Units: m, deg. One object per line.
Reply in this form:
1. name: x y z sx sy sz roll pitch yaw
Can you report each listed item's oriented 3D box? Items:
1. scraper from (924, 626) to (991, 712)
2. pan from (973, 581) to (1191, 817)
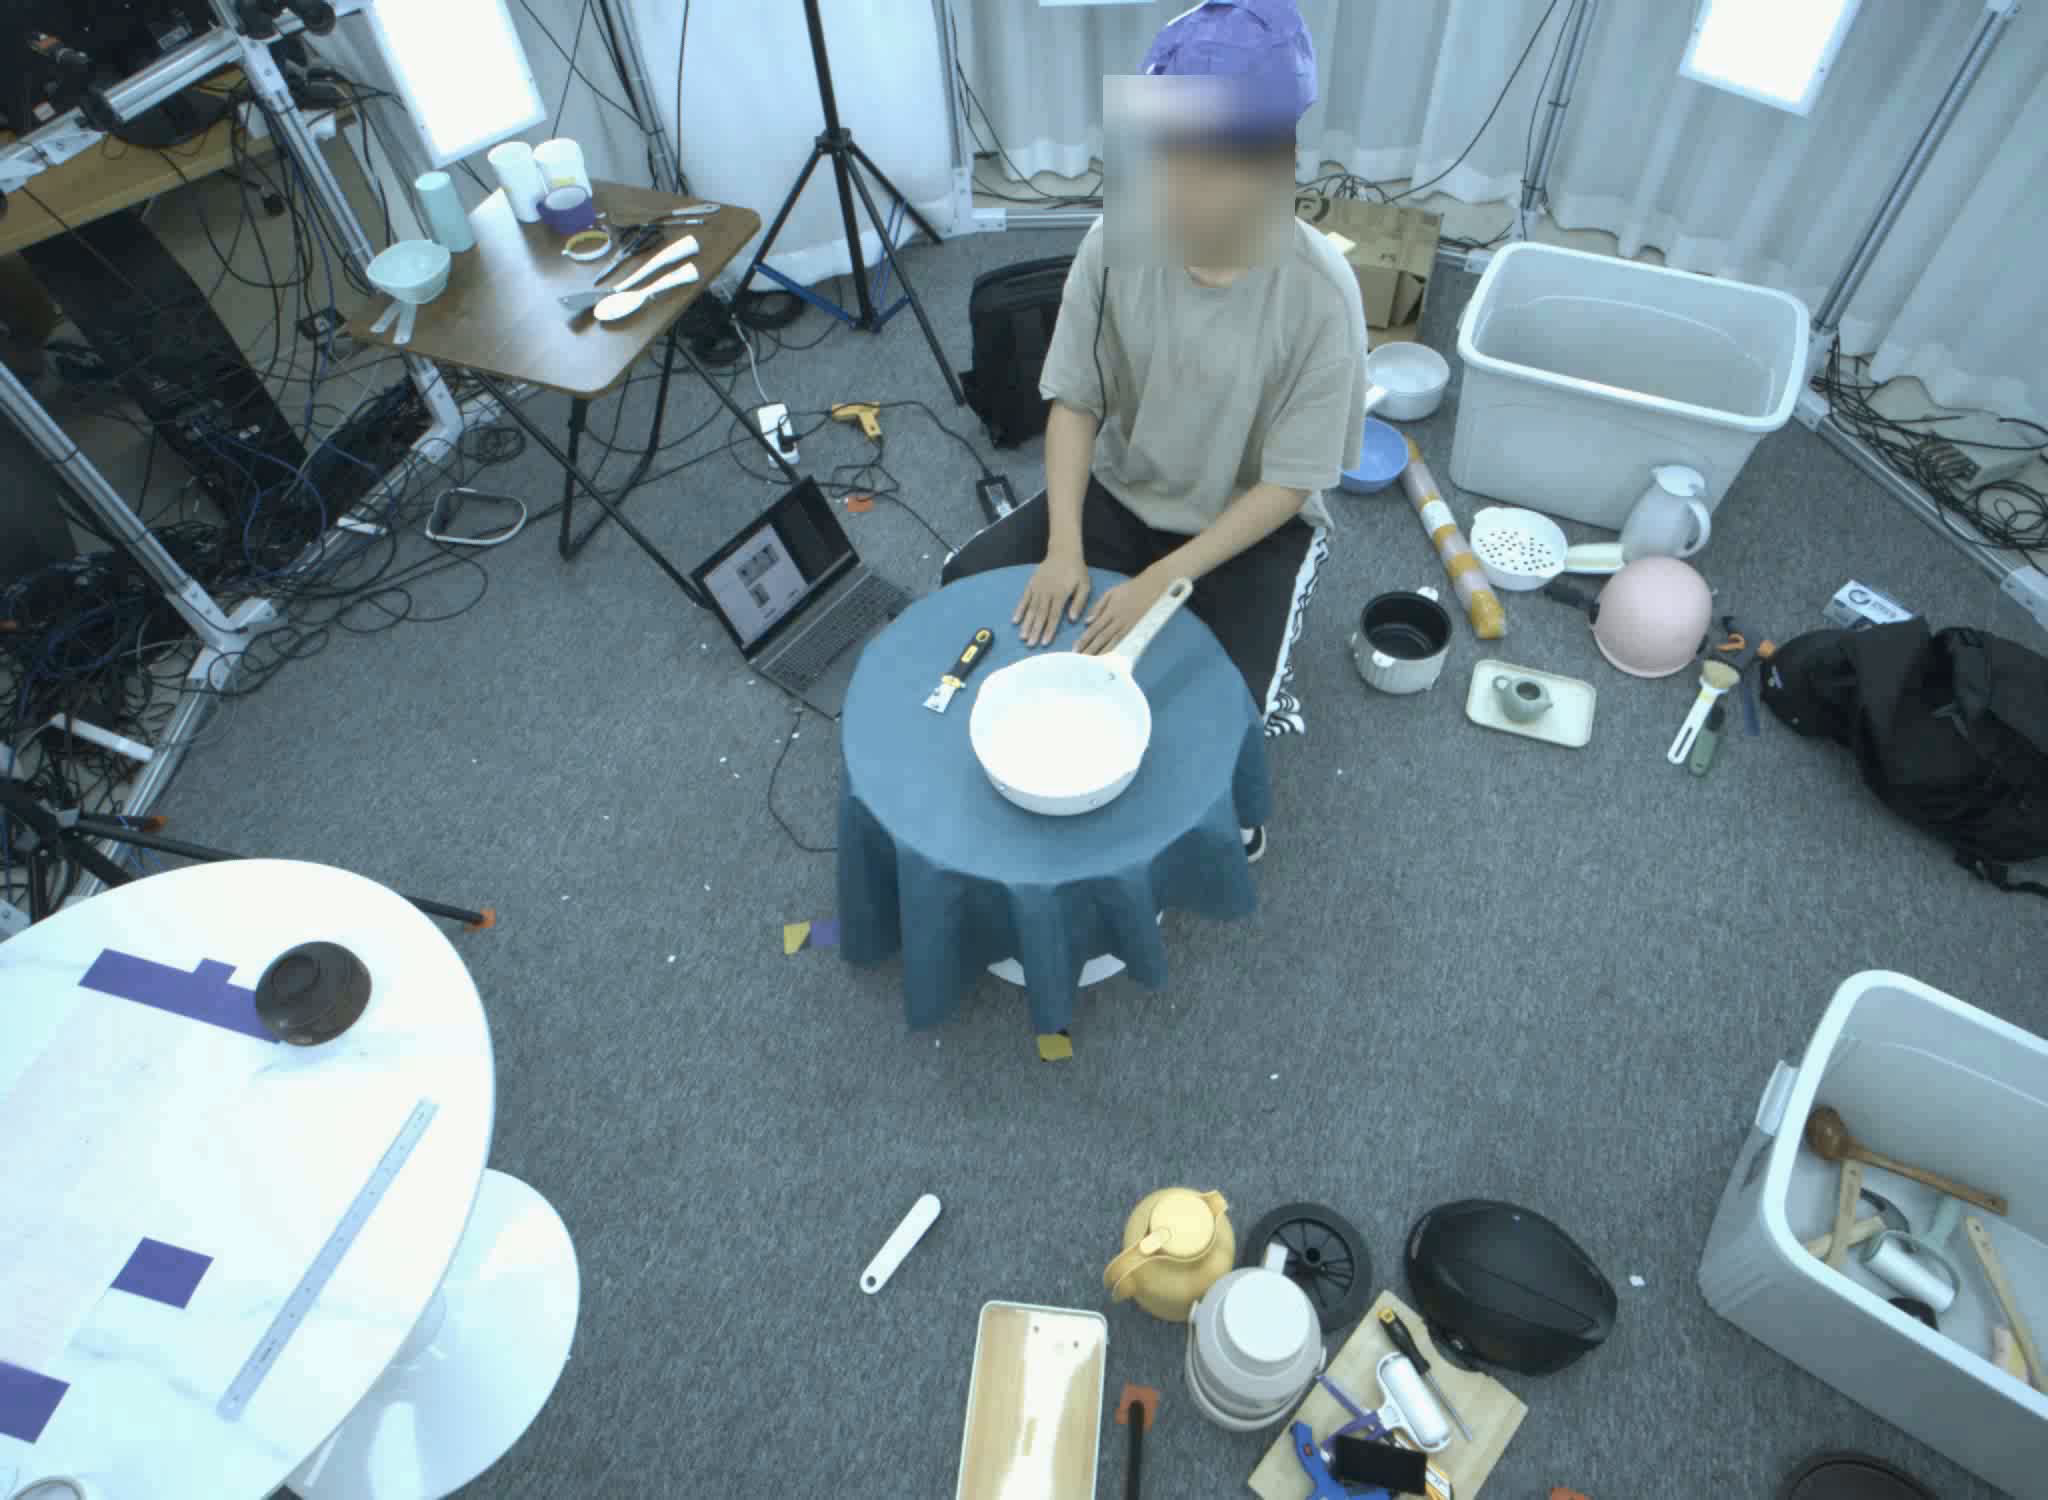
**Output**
1. scraper: -0.098 -0.125 1.867 0.038 0.015 0.171 17 59 23
2. pan: 0.114 -0.078 1.778 0.259 0.103 0.437 31 61 25
